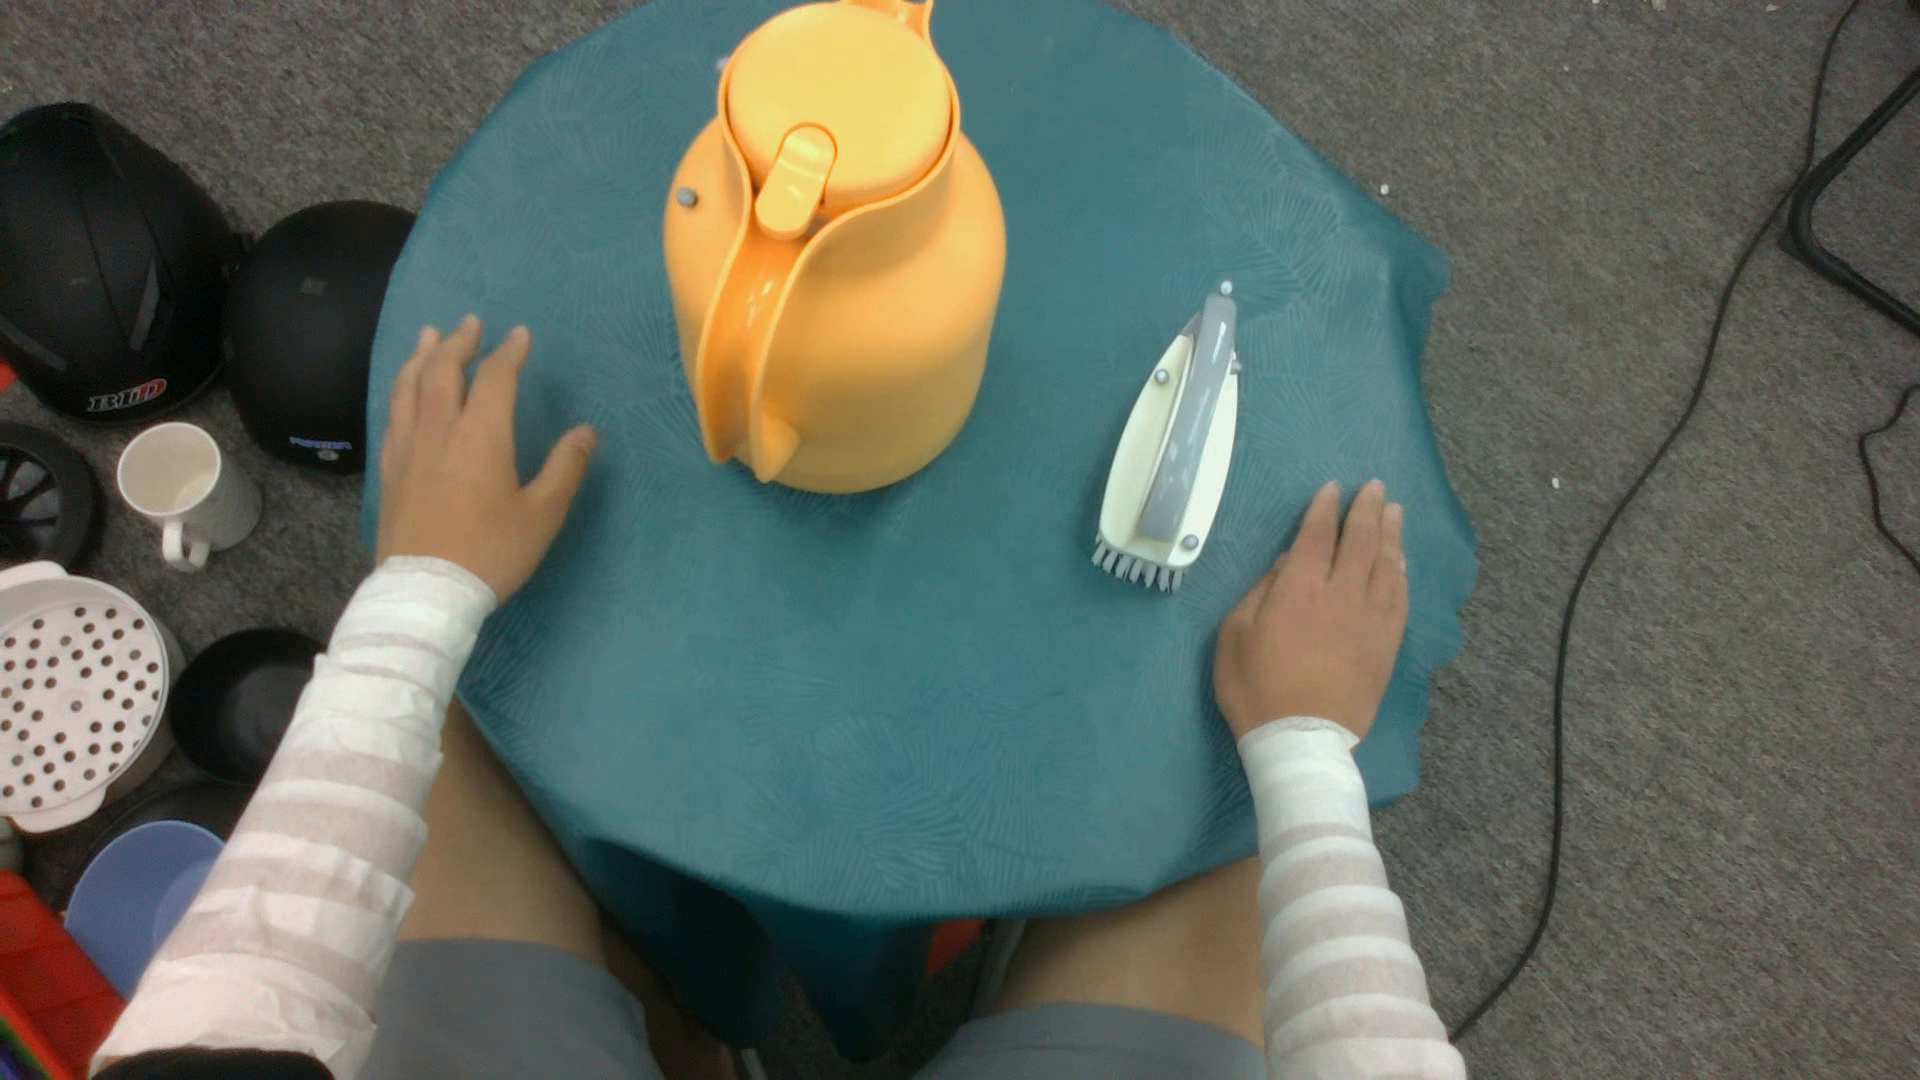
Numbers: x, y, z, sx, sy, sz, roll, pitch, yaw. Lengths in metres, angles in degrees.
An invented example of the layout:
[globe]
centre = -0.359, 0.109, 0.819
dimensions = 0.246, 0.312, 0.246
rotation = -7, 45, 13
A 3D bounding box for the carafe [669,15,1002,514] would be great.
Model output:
[carafe]
centre = -0.069, -0.110, 0.672
dimensions = 0.163, 0.259, 0.203
rotation = 22, 68, 5

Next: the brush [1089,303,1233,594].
[brush]
centre = 0.123, -0.066, 0.763
dimensions = 0.061, 0.094, 0.176
rotation = 18, 67, 0
